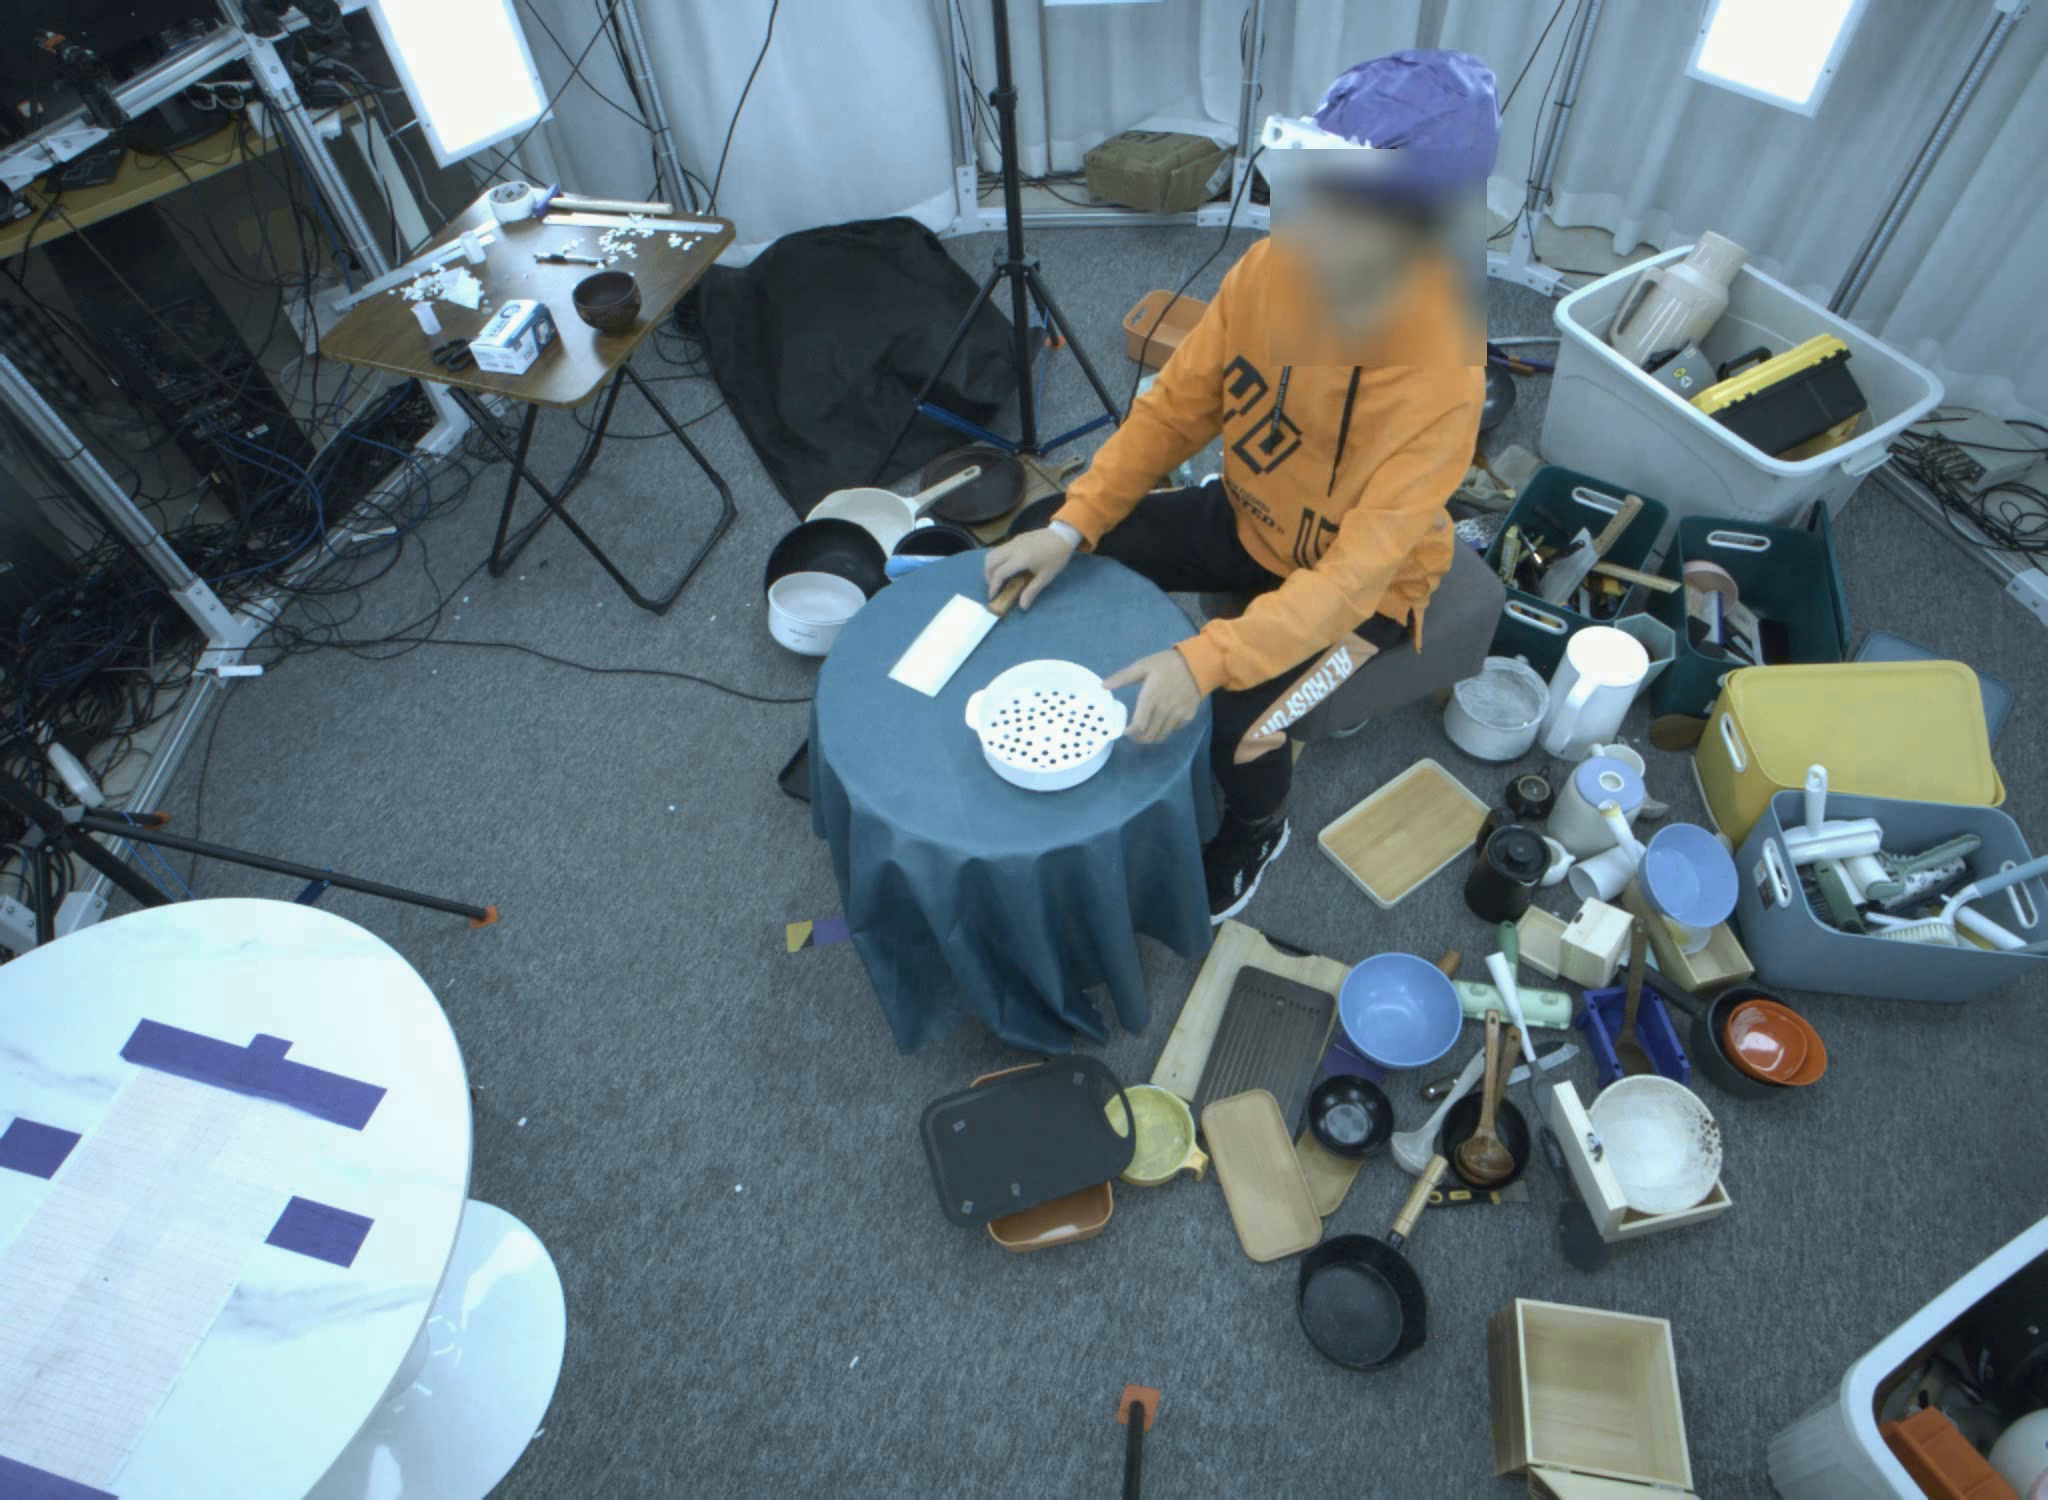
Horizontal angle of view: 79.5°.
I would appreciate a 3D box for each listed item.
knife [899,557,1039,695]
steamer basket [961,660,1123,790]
[{"bbox_3d":[-0.090,-0.206,1.927,0.091,0.021,0.307,26,62,21],"label":"knife"},{"bbox_3d":[0.027,-0.034,1.768,0.229,0.070,0.200,4,54,7],"label":"steamer basket"}]
